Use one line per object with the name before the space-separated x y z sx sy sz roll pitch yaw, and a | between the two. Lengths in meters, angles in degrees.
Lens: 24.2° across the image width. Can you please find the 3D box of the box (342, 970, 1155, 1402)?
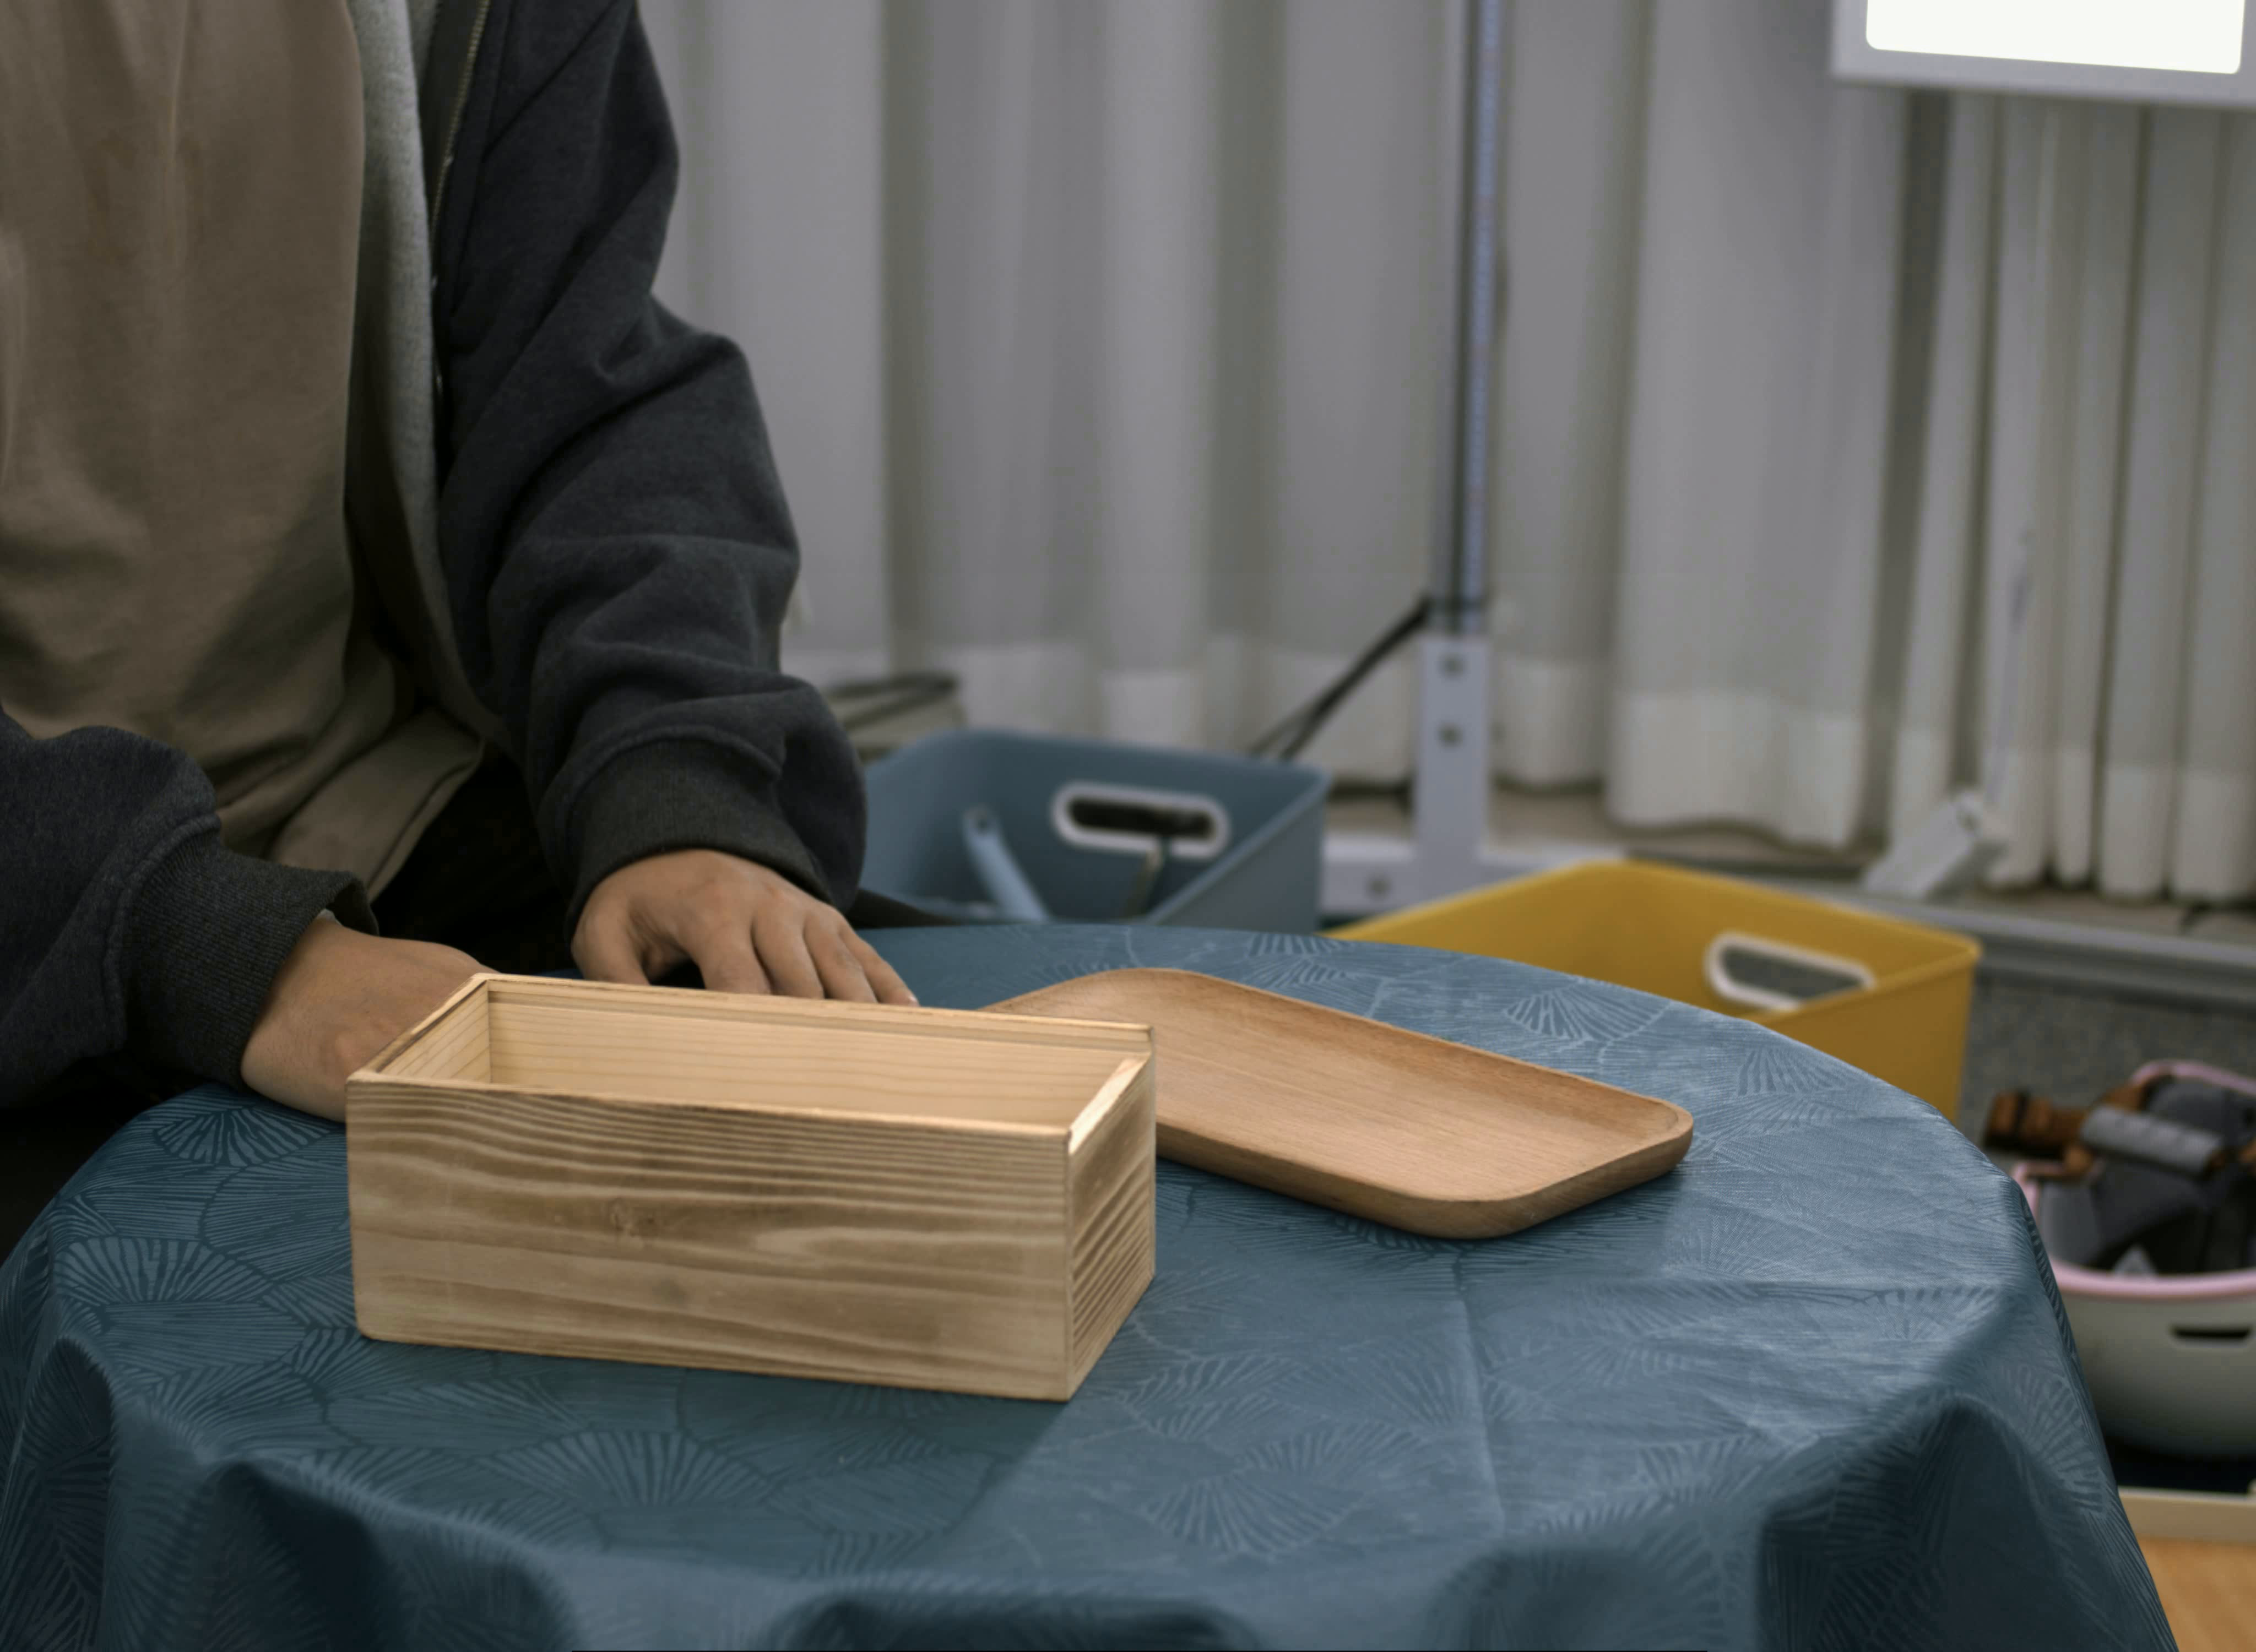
box | -0.106 0.101 1.511 0.210 0.081 0.107 4 16 12

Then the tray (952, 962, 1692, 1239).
tray | 0.054 0.086 1.687 0.247 0.023 0.131 14 18 41
